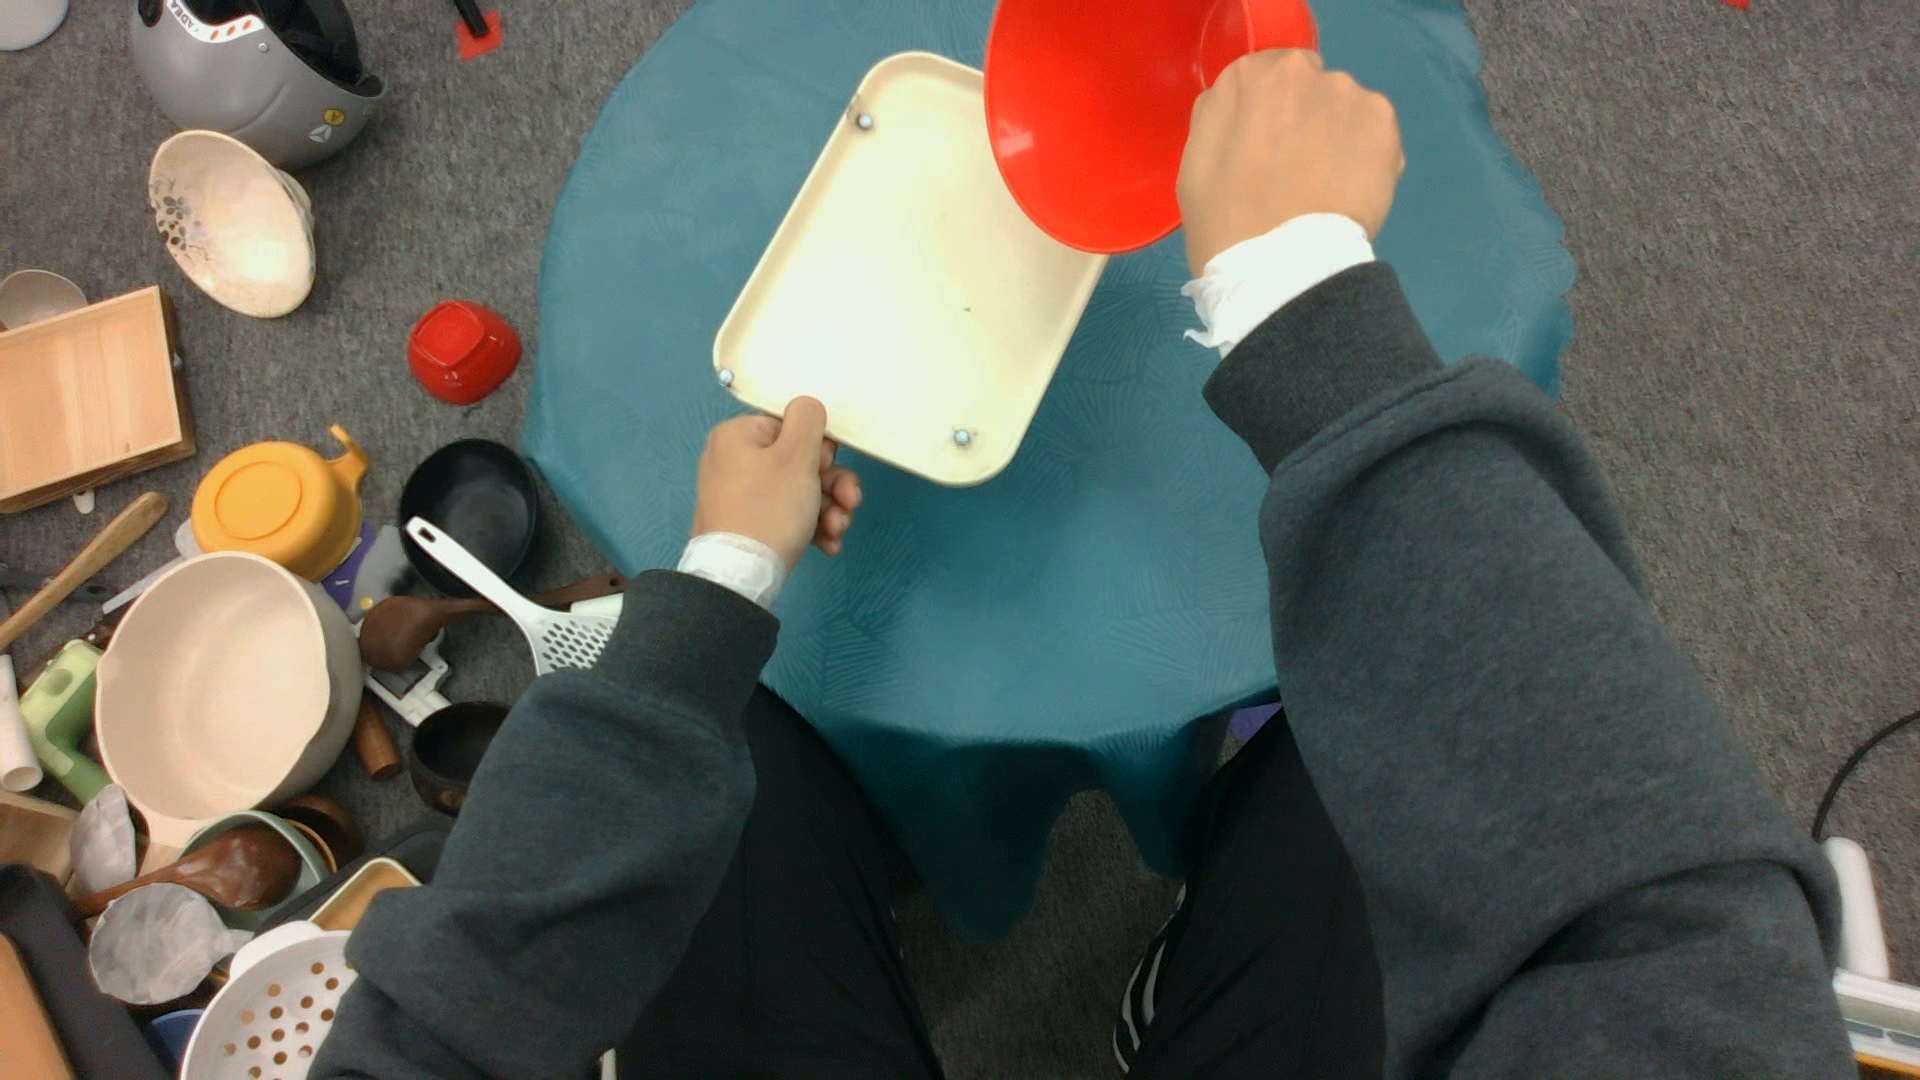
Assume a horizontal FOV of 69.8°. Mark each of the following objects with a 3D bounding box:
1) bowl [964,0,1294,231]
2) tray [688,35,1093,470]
[{"bbox_3d":[0.086,-0.223,0.633,0.105,0.147,0.148,-18,67,-34],"label":"bowl"},{"bbox_3d":[-0.026,-0.159,0.740,0.171,0.017,0.240,23,70,7],"label":"tray"}]
